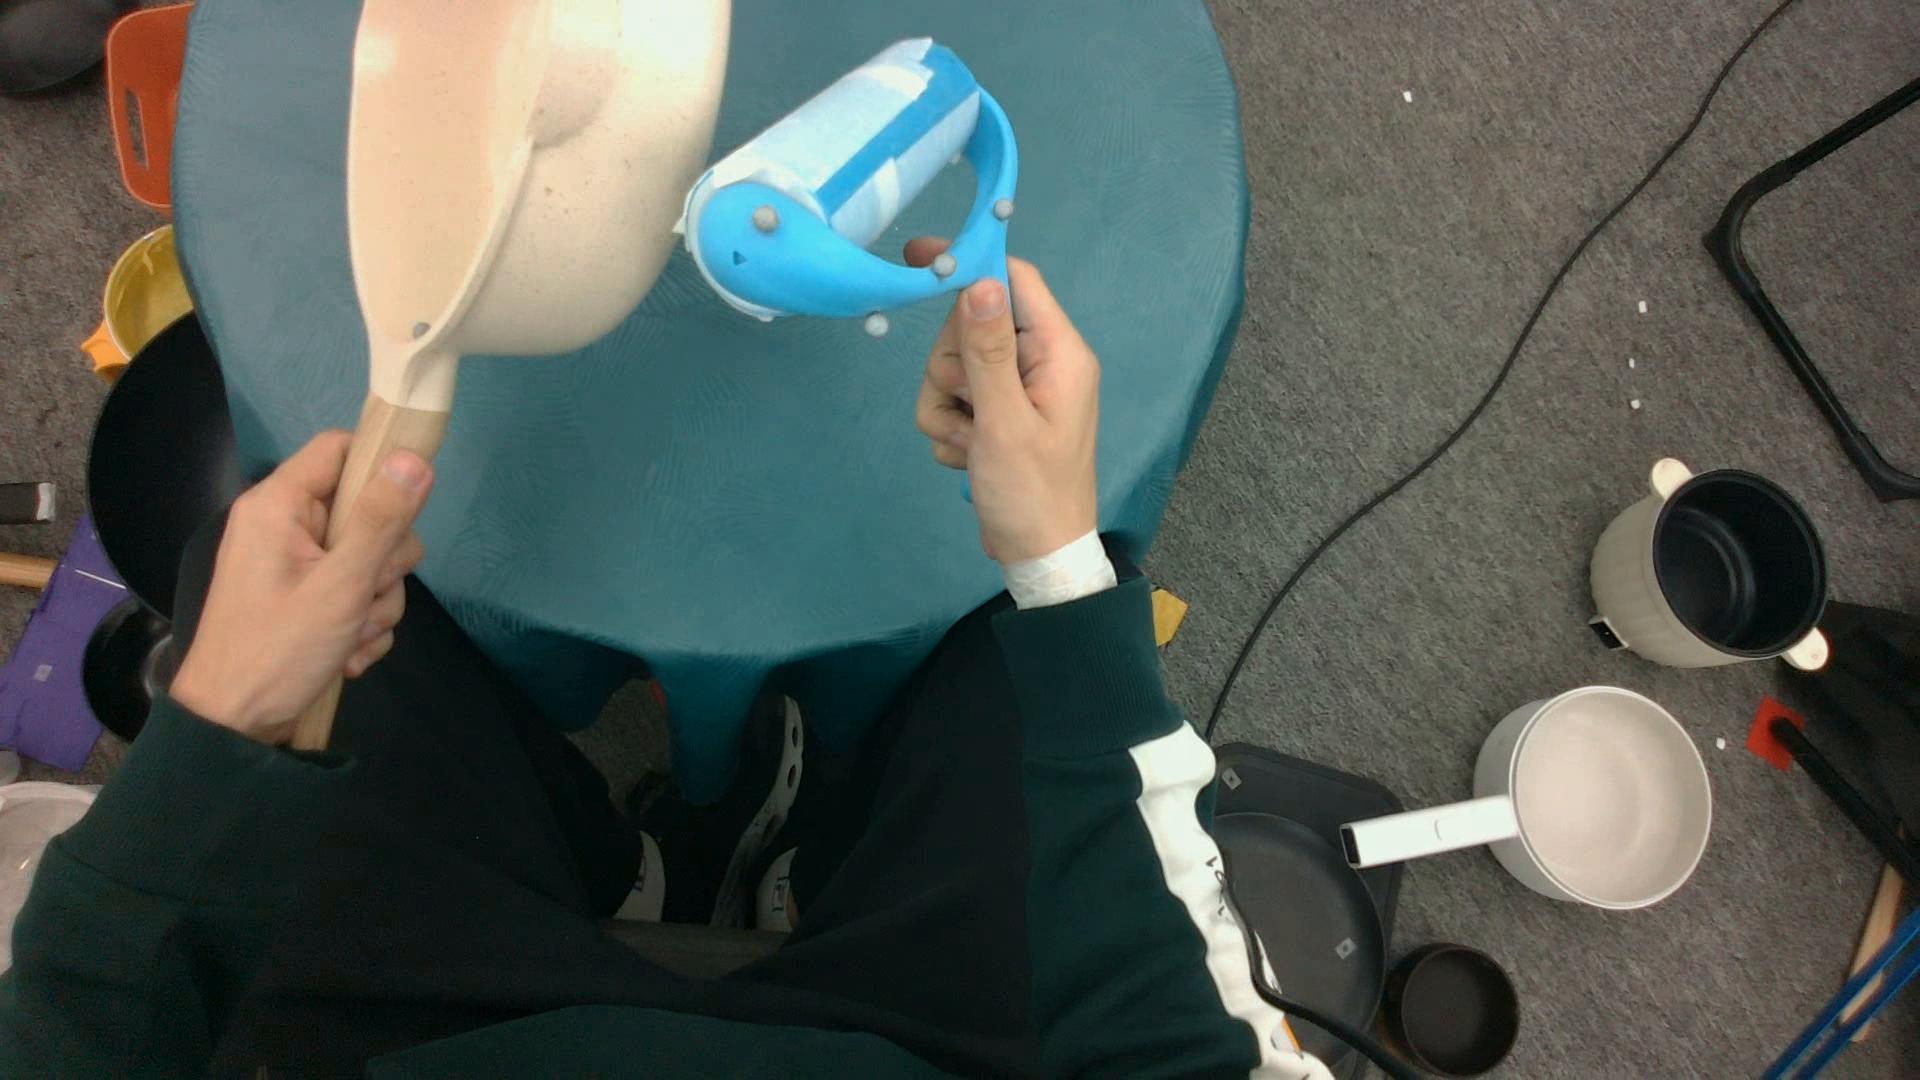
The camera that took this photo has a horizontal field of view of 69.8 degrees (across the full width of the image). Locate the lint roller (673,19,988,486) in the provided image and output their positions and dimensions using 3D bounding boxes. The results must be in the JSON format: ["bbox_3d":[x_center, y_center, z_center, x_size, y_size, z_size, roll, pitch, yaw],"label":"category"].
[{"bbox_3d":[-0.023,-0.107,0.555,0.068,0.230,0.180,-22,117,21],"label":"lint roller"}]

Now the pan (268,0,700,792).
[{"bbox_3d":[-0.211,-0.105,0.575,0.102,0.263,0.434,4,101,-38],"label":"pan"}]
